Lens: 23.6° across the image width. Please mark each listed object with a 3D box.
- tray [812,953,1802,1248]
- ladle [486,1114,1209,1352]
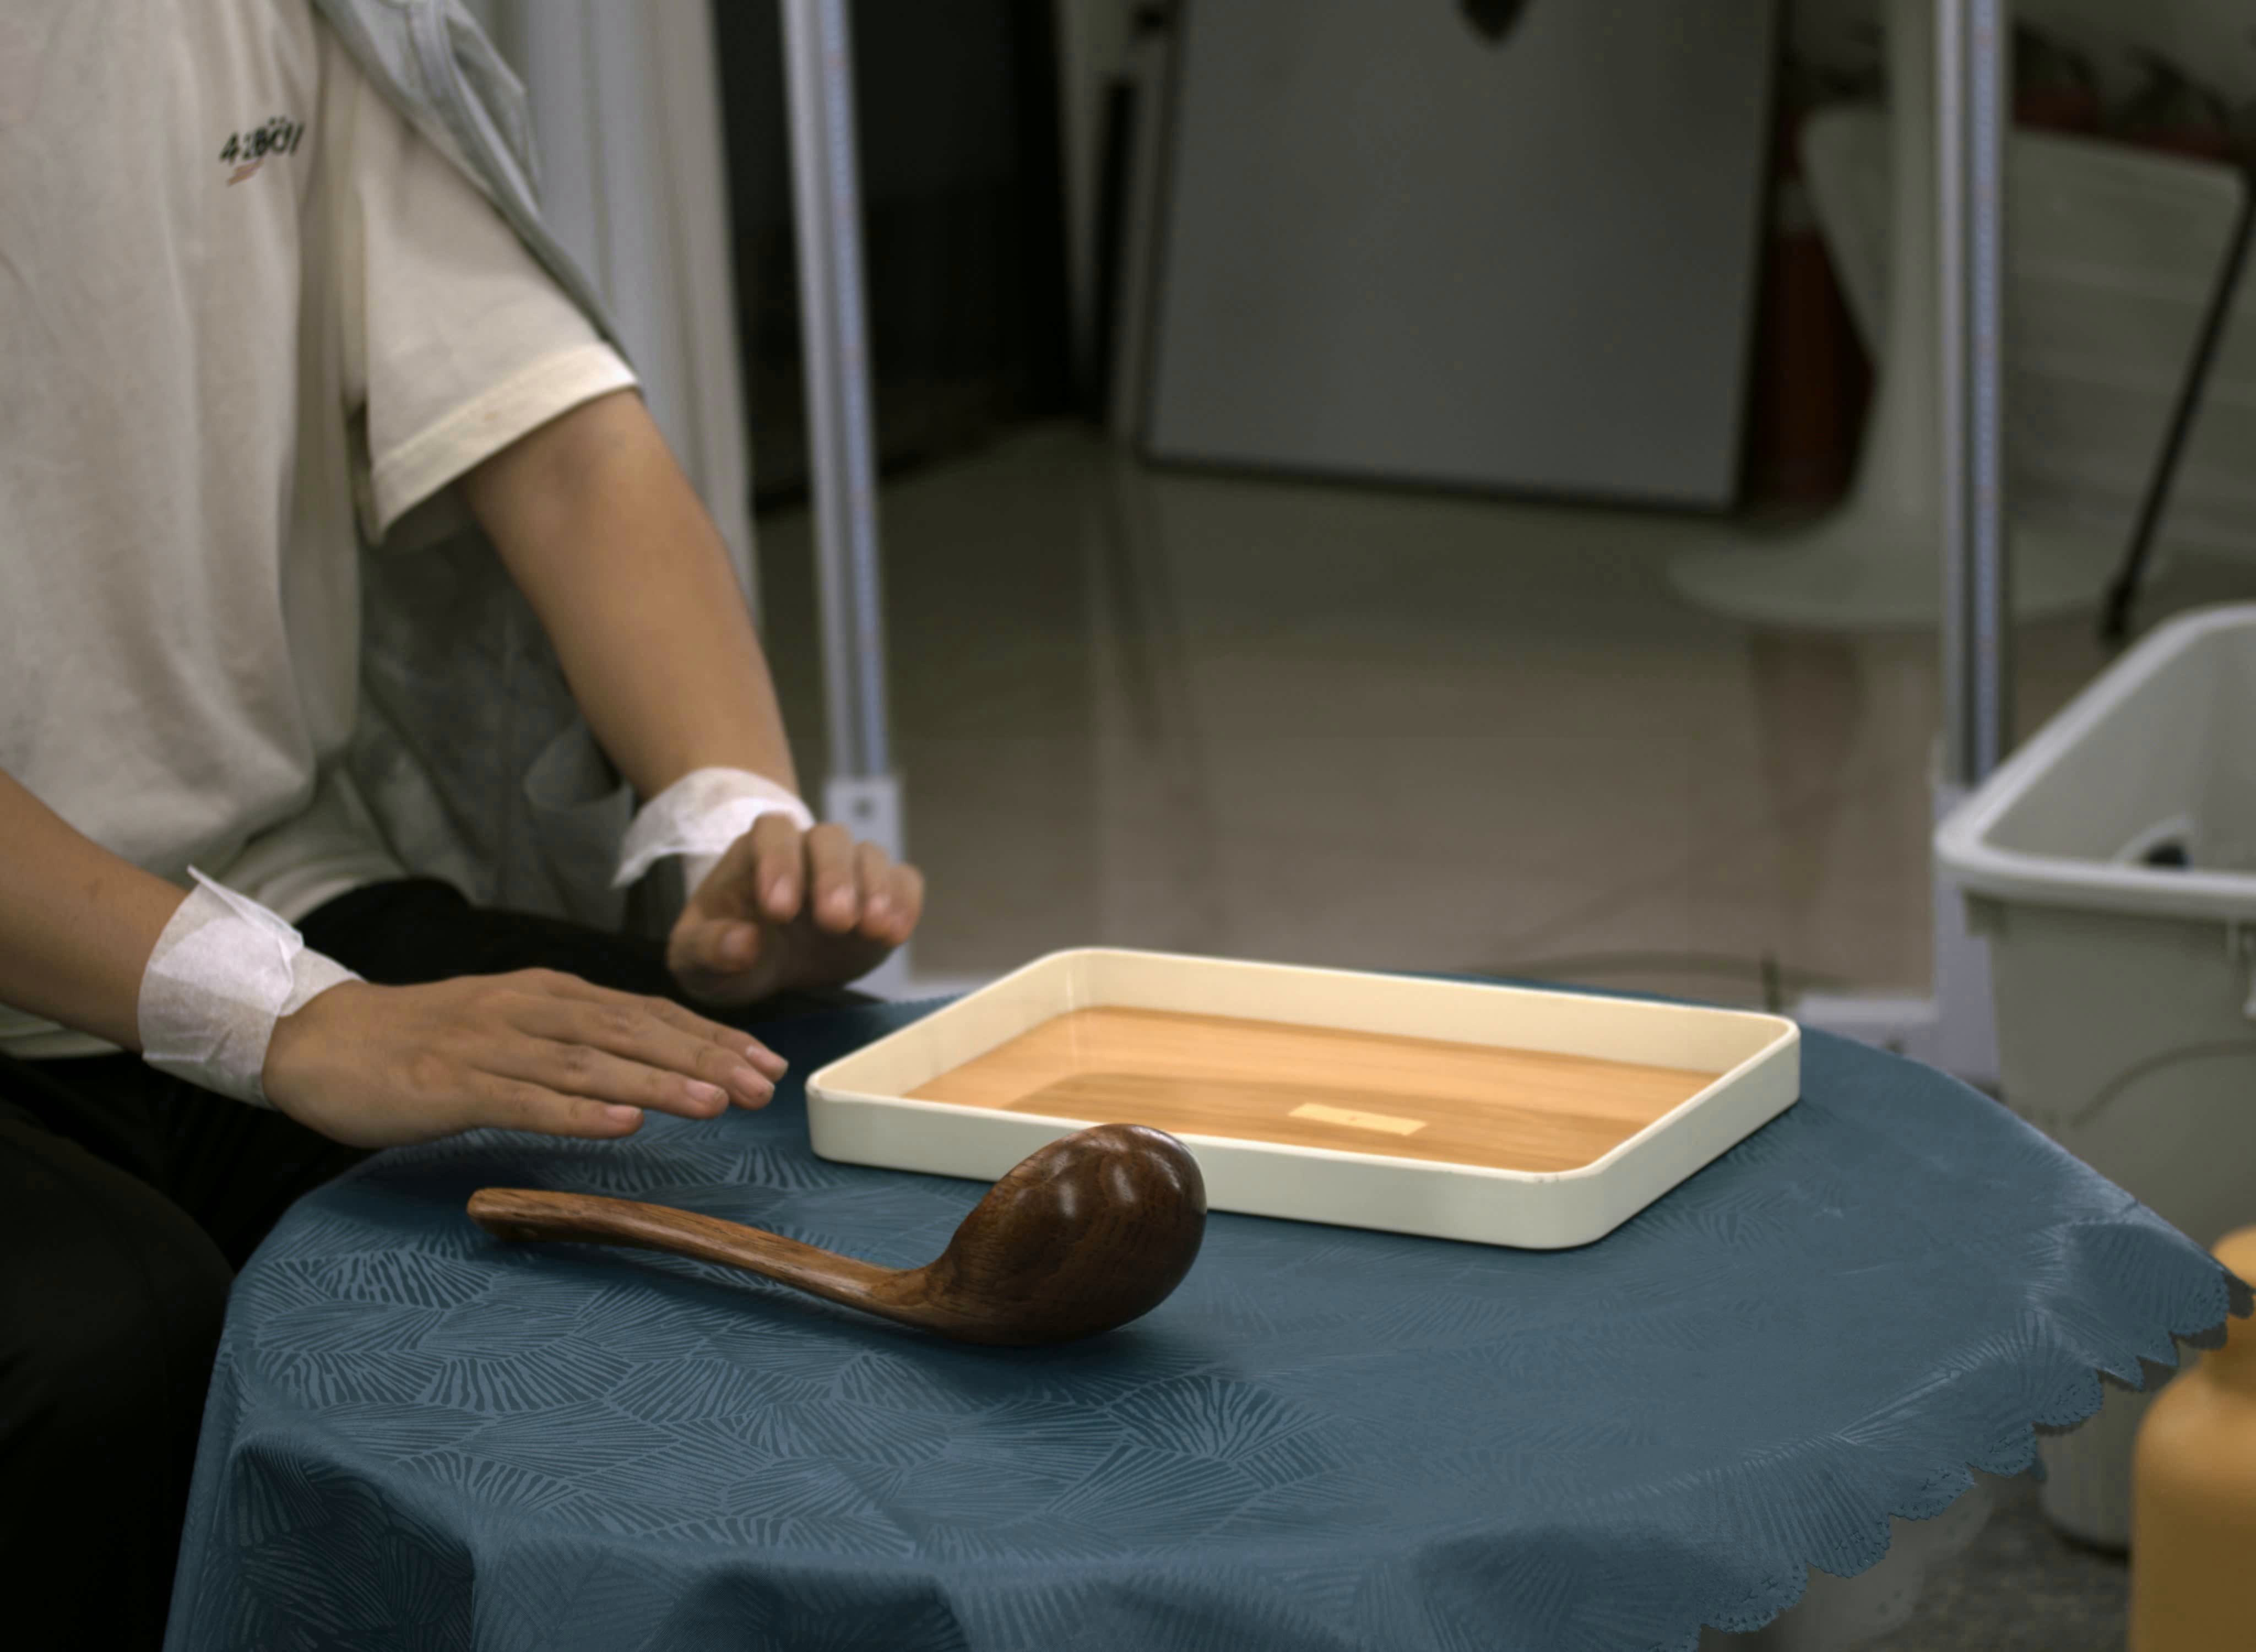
[{"bbox_3d":[0.061,0.090,1.827,0.301,0.028,0.188,5,16,32],"label":"tray"},{"bbox_3d":[-0.093,0.114,1.685,0.276,0.077,0.081,7,-24,42],"label":"ladle"}]
